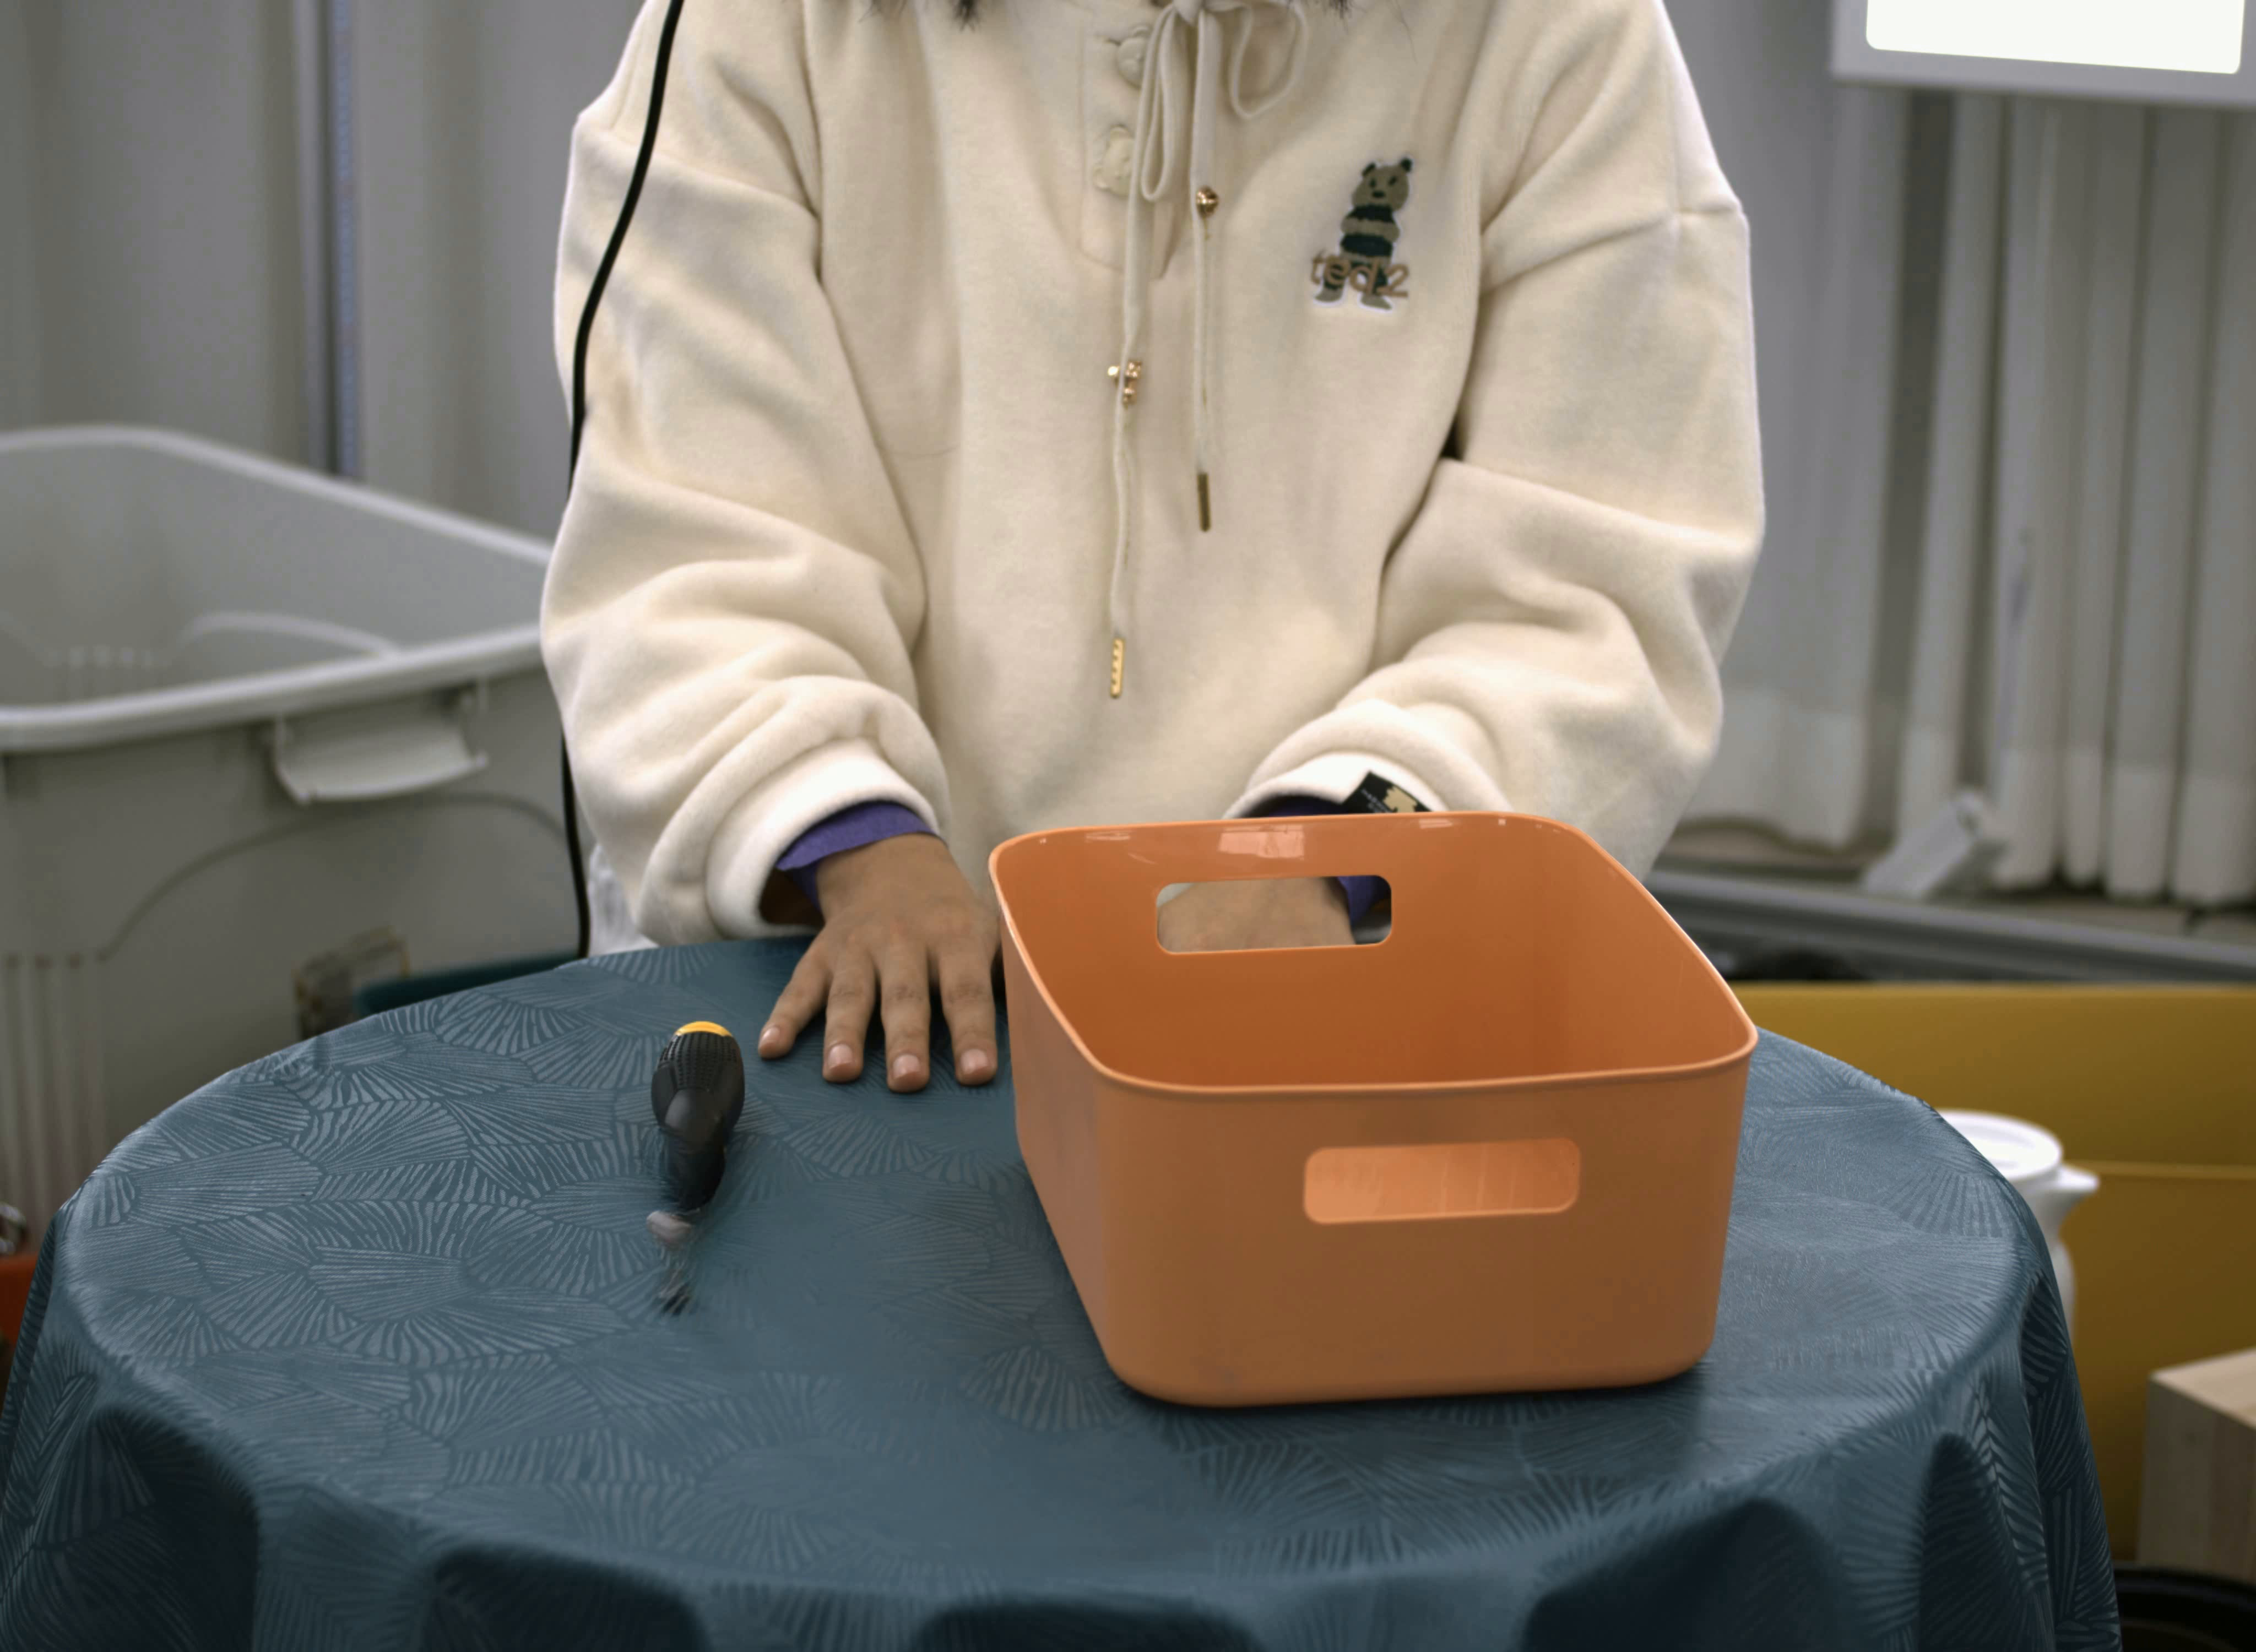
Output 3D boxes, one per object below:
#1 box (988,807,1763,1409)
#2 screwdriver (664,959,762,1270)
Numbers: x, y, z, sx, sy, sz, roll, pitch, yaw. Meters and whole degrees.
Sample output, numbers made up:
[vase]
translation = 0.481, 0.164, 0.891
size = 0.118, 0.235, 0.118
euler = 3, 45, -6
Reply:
[box]
translation = 0.067, 0.079, 1.547
size = 0.199, 0.103, 0.271
euler = -3, 16, -9
[screwdriver]
translation = -0.126, 0.090, 1.611
size = 0.031, 0.032, 0.196
euler = -1, 24, -5
